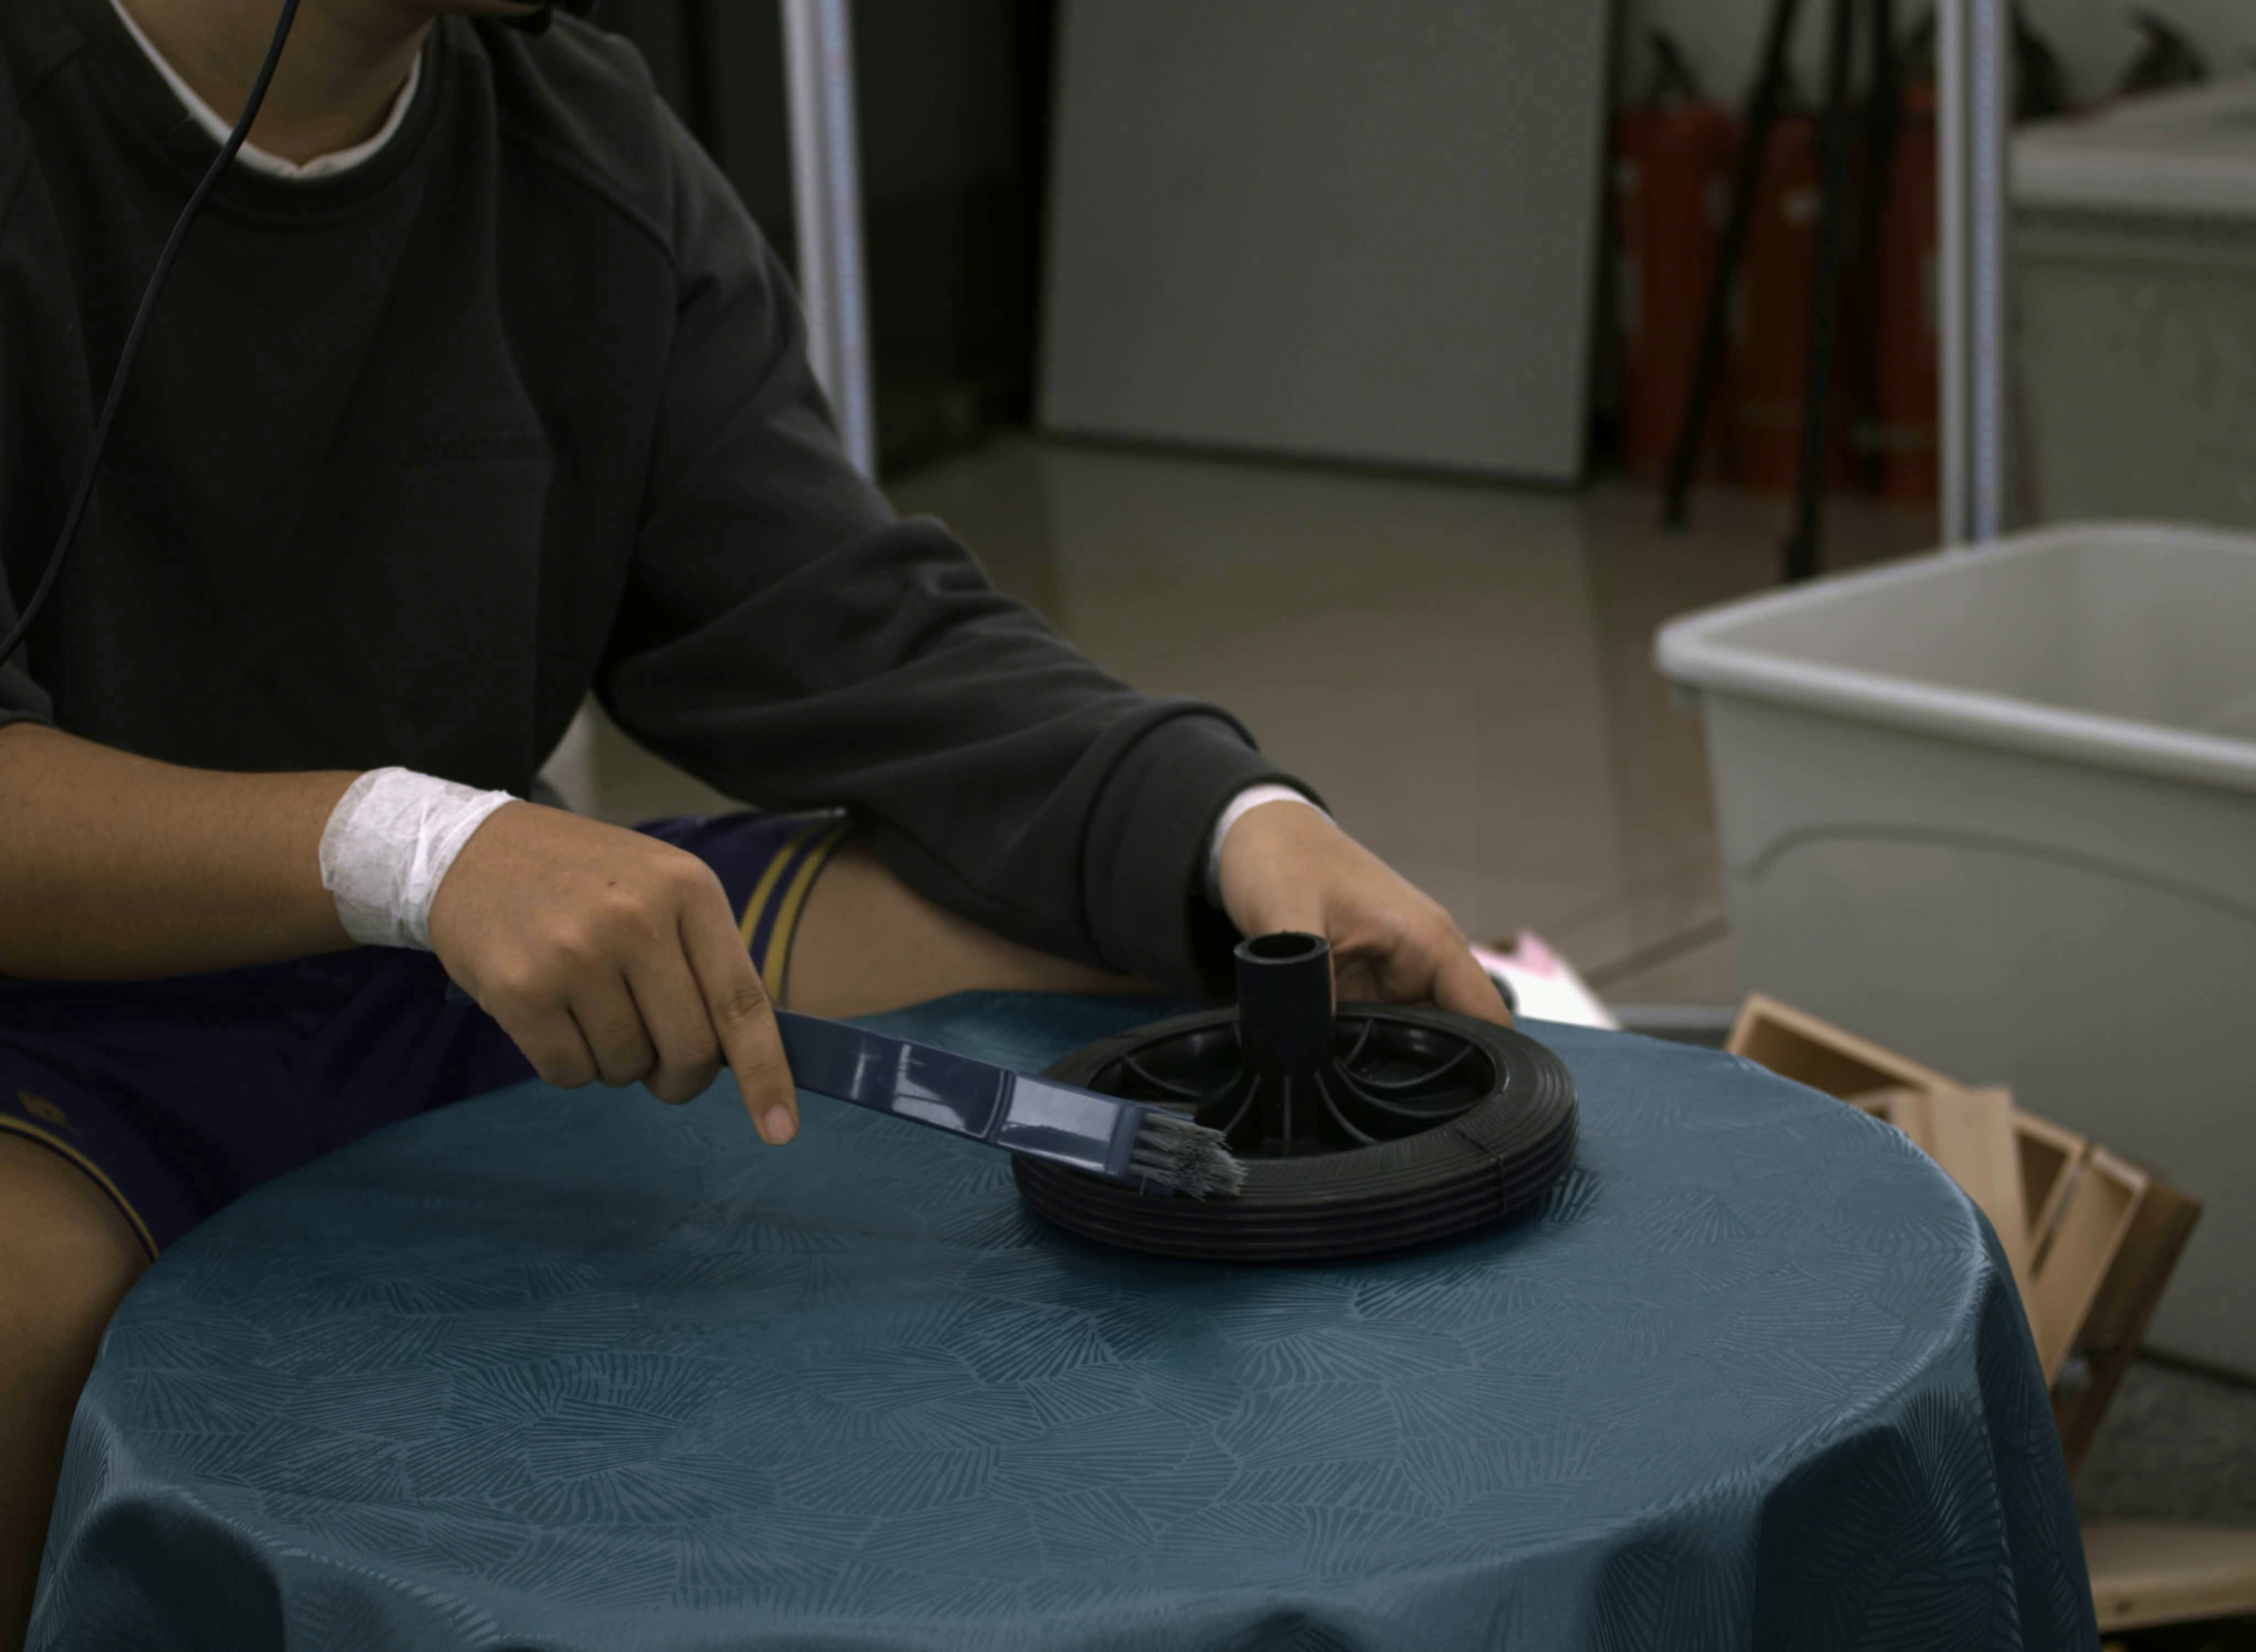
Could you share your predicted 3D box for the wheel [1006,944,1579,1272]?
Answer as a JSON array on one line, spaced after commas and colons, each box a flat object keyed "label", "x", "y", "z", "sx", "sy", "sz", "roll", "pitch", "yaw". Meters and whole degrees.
[{"label": "wheel", "x": 0.052, "y": 0.081, "z": 1.754, "sx": 0.187, "sy": 0.080, "sz": 0.188, "roll": -7, "pitch": 17, "yaw": -6}]

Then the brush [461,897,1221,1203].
[{"label": "brush", "x": -0.097, "y": 0.070, "z": 1.695, "sx": 0.273, "sy": 0.034, "sz": 0.095, "roll": 15, "pitch": -2, "yaw": 18}]
